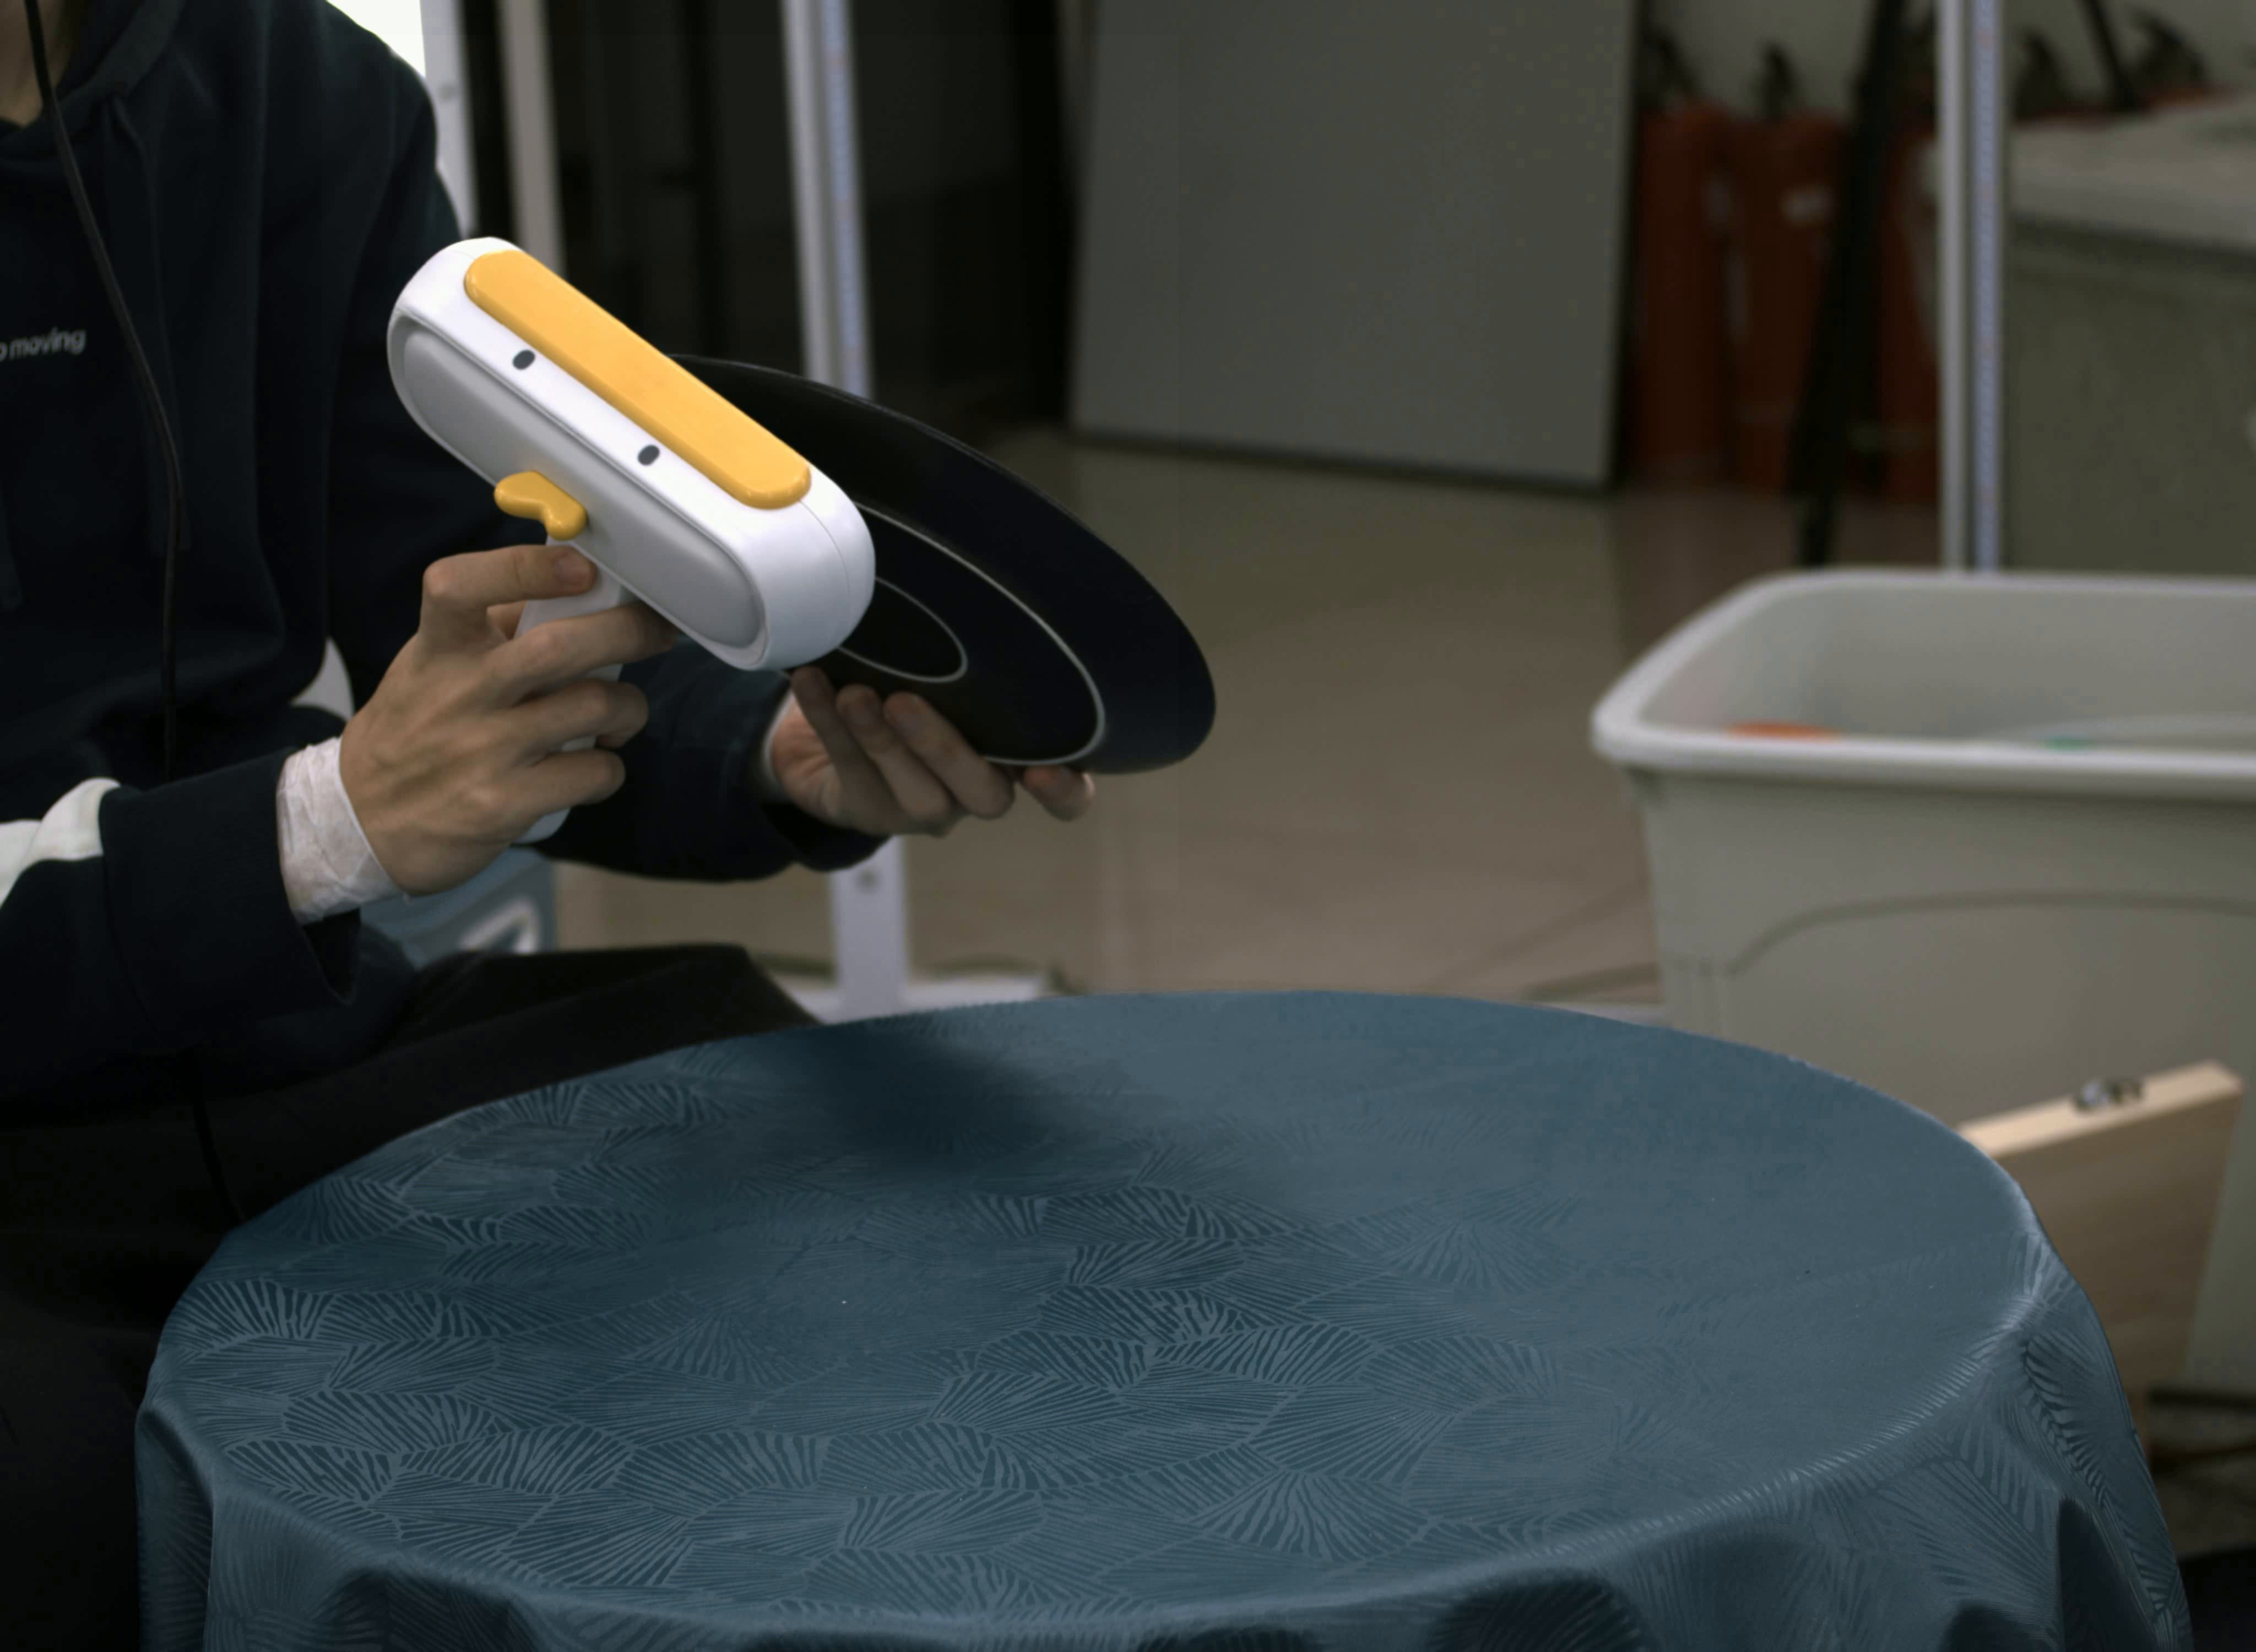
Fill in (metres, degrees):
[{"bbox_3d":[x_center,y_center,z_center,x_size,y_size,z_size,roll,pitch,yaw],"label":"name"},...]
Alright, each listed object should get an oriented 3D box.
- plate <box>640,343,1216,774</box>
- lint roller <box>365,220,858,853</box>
[{"bbox_3d":[-0.084,-0.080,1.824,0.243,0.023,0.244,24,-22,9],"label":"plate"},{"bbox_3d":[-0.177,-0.078,1.770,0.194,0.194,0.073,31,45,24],"label":"lint roller"}]
